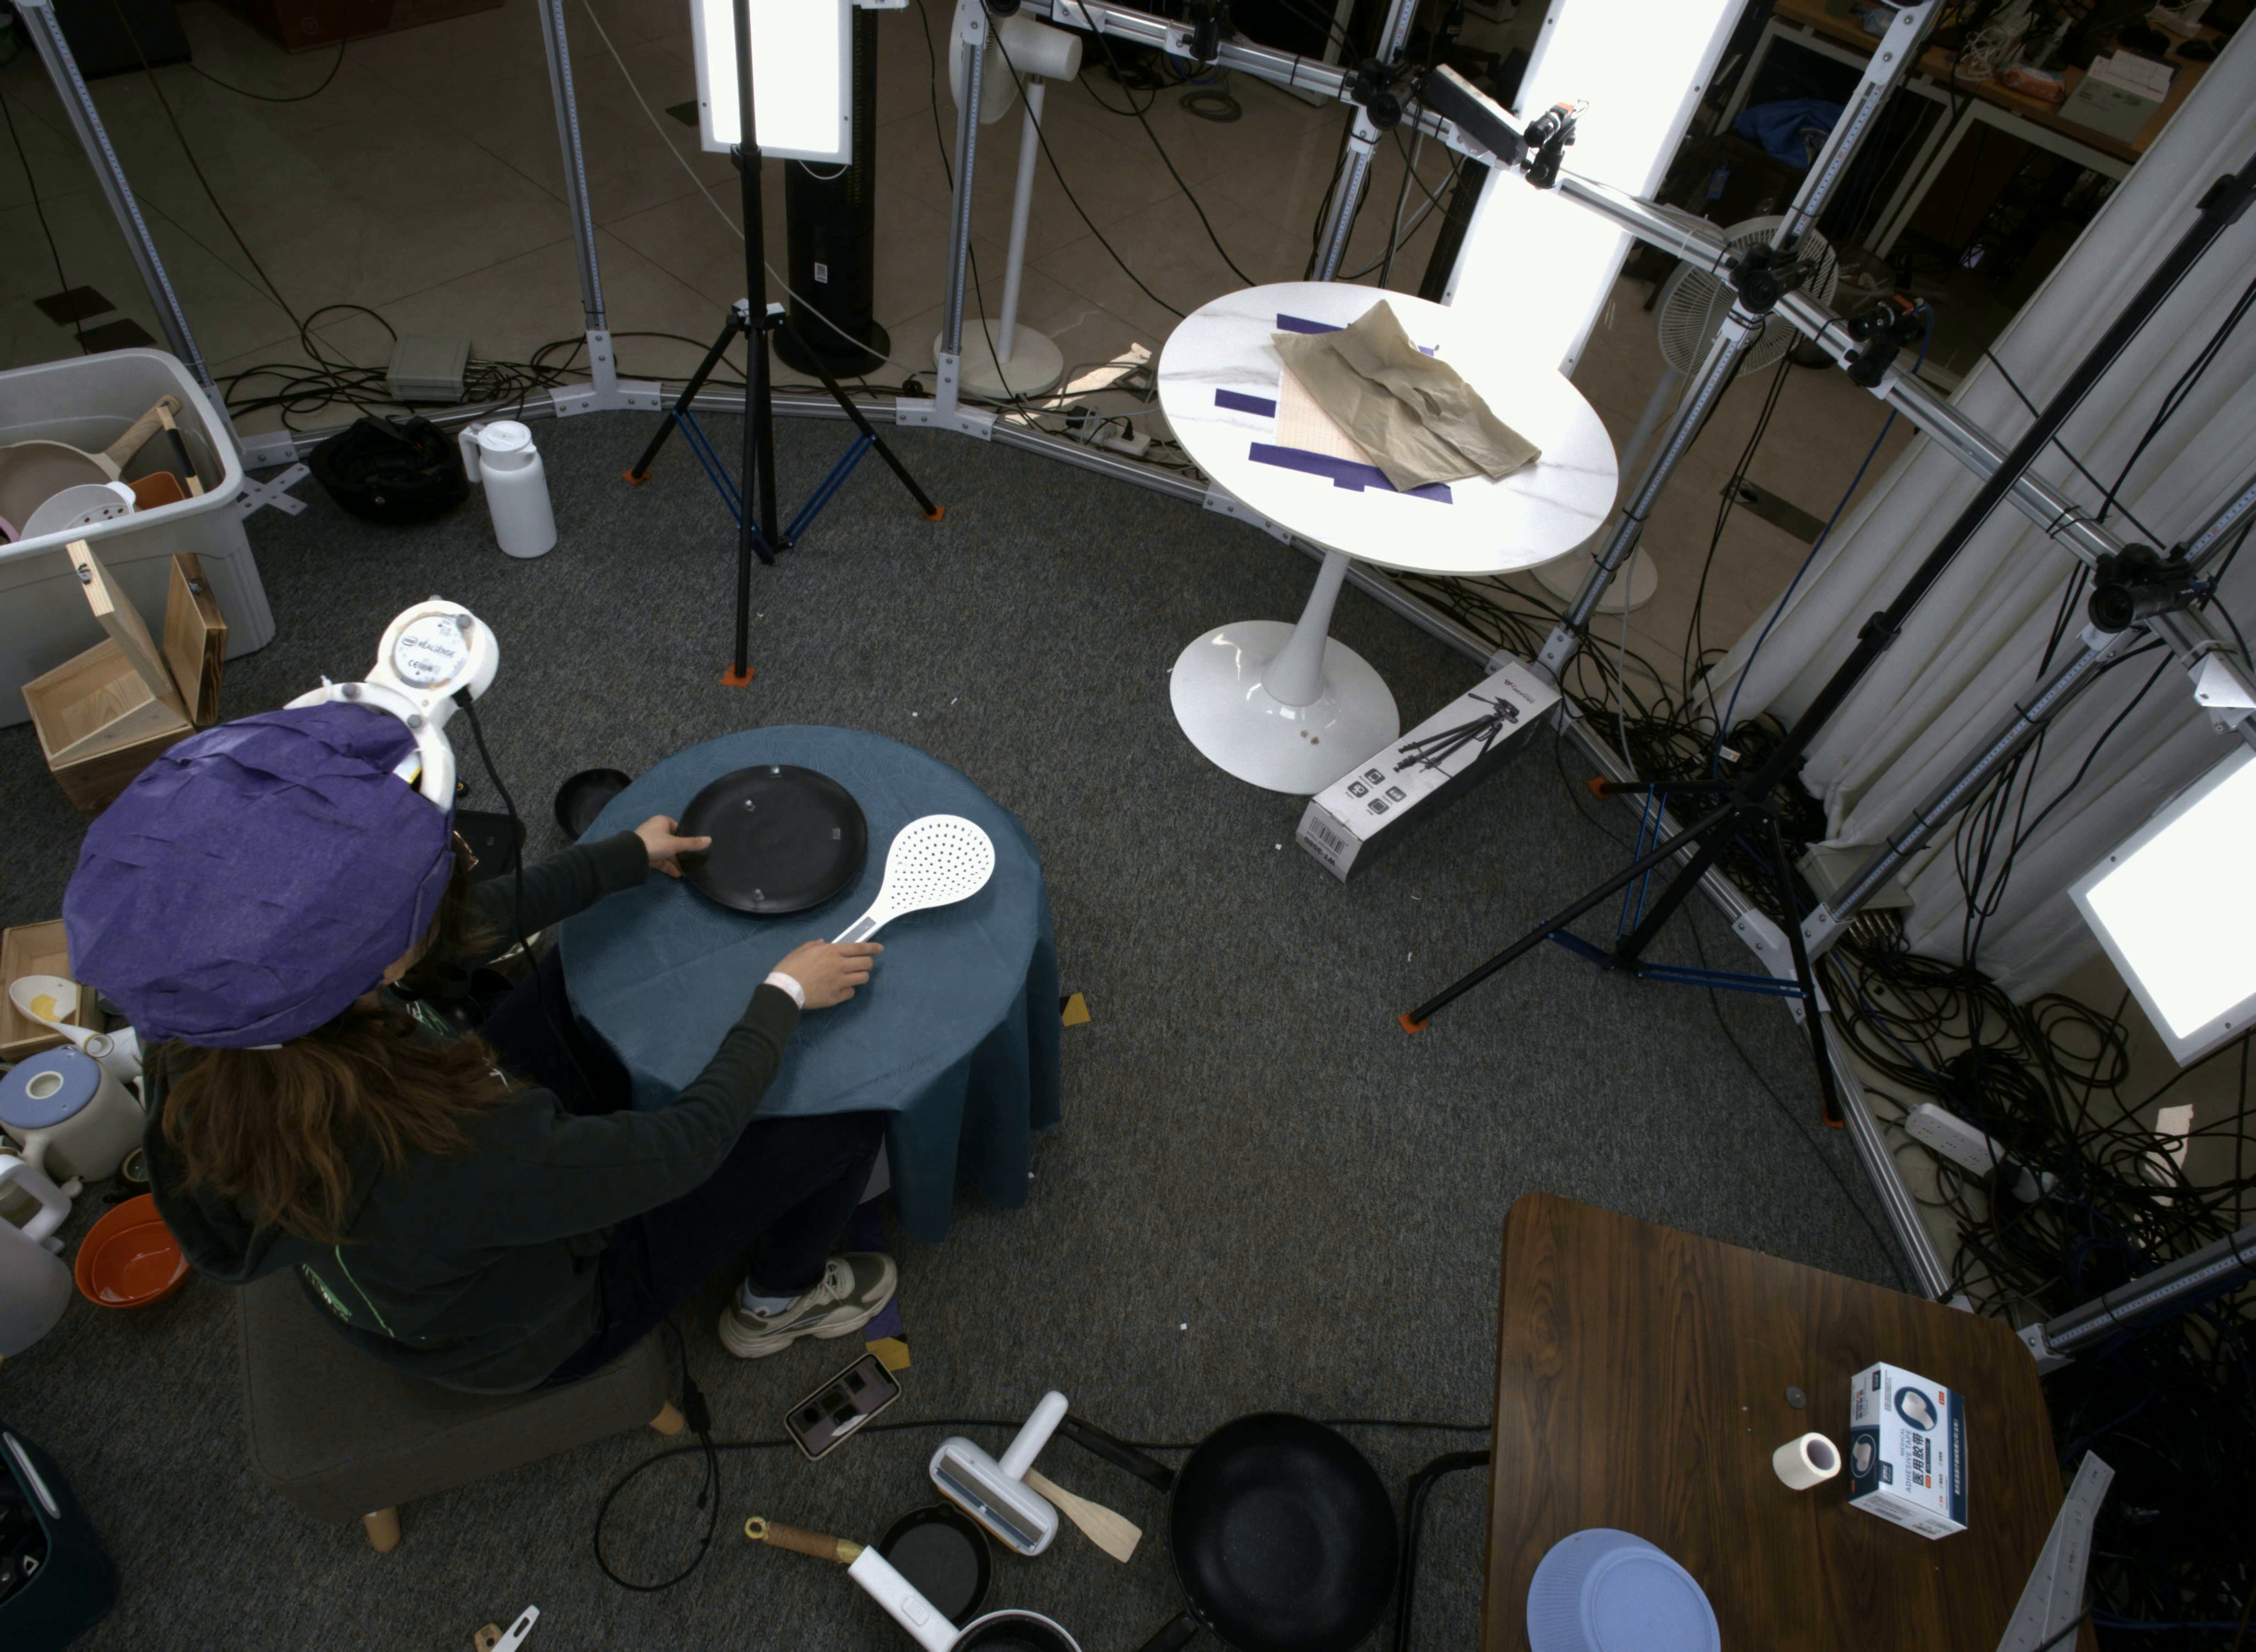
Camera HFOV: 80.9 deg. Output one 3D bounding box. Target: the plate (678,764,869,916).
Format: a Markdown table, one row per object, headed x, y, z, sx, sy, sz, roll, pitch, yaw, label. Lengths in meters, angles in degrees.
| x | y | z | sx | sy | sz | roll | pitch | yaw | label |
| --- | --- | --- | --- | --- | --- | --- | --- | --- | --- |
| -0.462 | 0.018 | 1.691 | 0.244 | 0.024 | 0.240 | 8 | 53 | -9 | plate |

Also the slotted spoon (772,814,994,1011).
| x | y | z | sx | sy | sz | roll | pitch | yaw | label |
| --- | --- | --- | --- | --- | --- | --- | --- | --- | --- |
| -0.311 | 0.108 | 1.648 | 0.133 | 0.047 | 0.350 | 37 | 55 | 17 | slotted spoon |
